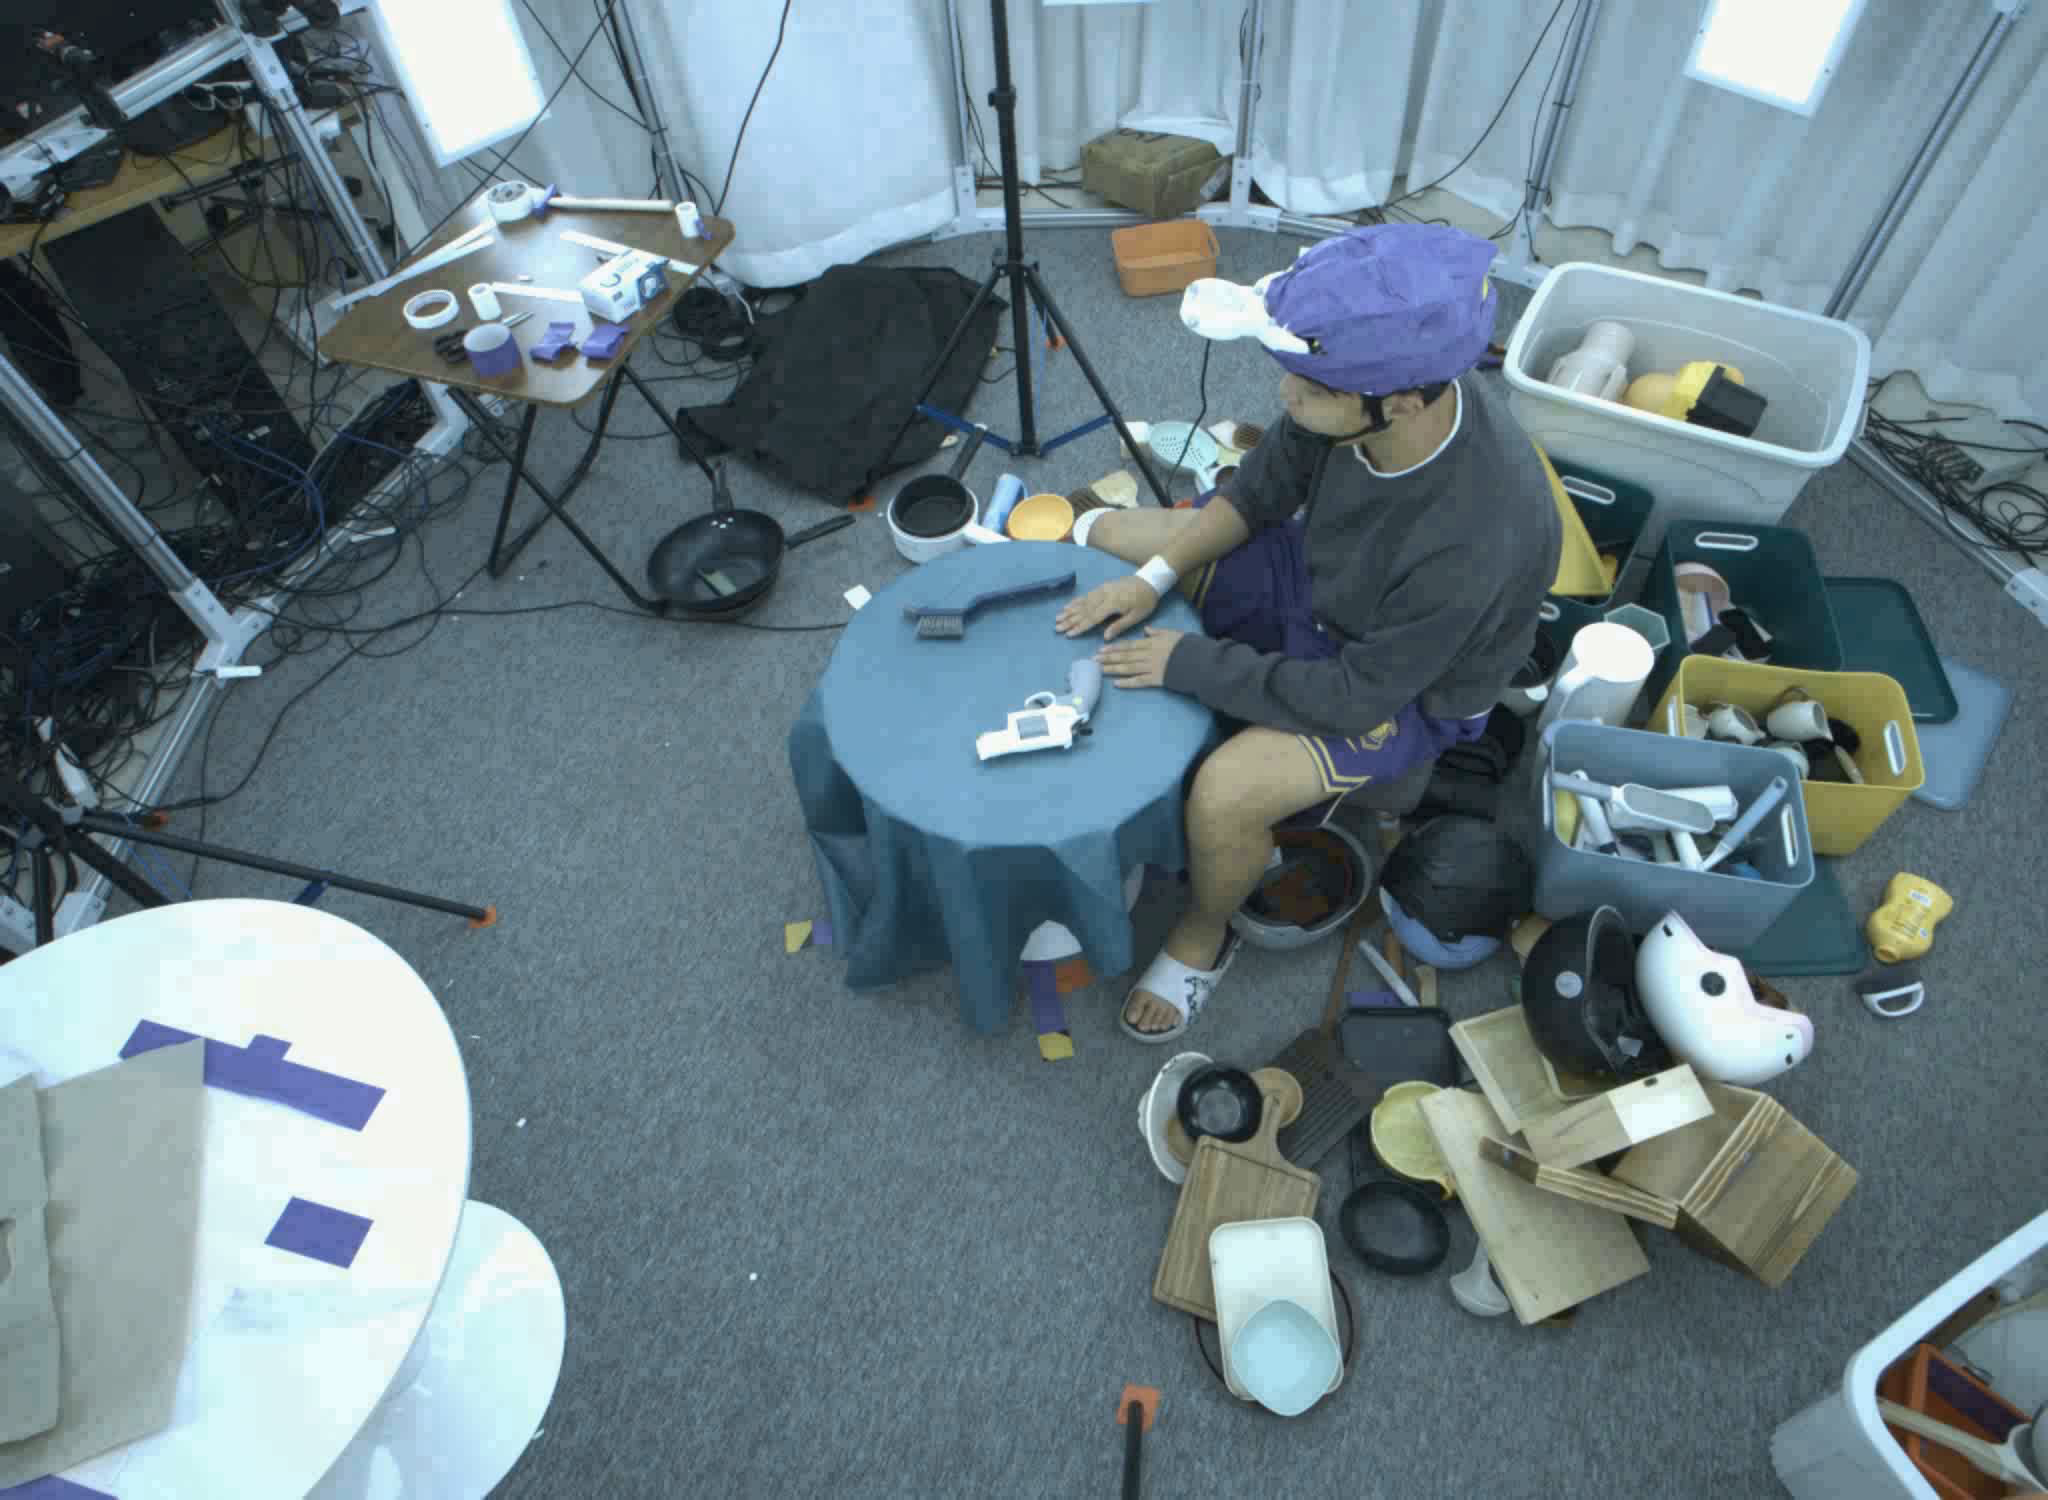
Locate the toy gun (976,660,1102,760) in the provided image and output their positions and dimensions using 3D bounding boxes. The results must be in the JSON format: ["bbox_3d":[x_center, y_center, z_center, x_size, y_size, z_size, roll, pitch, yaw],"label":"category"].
[{"bbox_3d":[0.025,-0.058,1.808,0.210,0.039,0.139,-10,54,-6],"label":"toy gun"}]

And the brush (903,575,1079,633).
[{"bbox_3d":[-0.051,-0.245,1.946,0.275,0.034,0.094,-19,56,-11],"label":"brush"}]
